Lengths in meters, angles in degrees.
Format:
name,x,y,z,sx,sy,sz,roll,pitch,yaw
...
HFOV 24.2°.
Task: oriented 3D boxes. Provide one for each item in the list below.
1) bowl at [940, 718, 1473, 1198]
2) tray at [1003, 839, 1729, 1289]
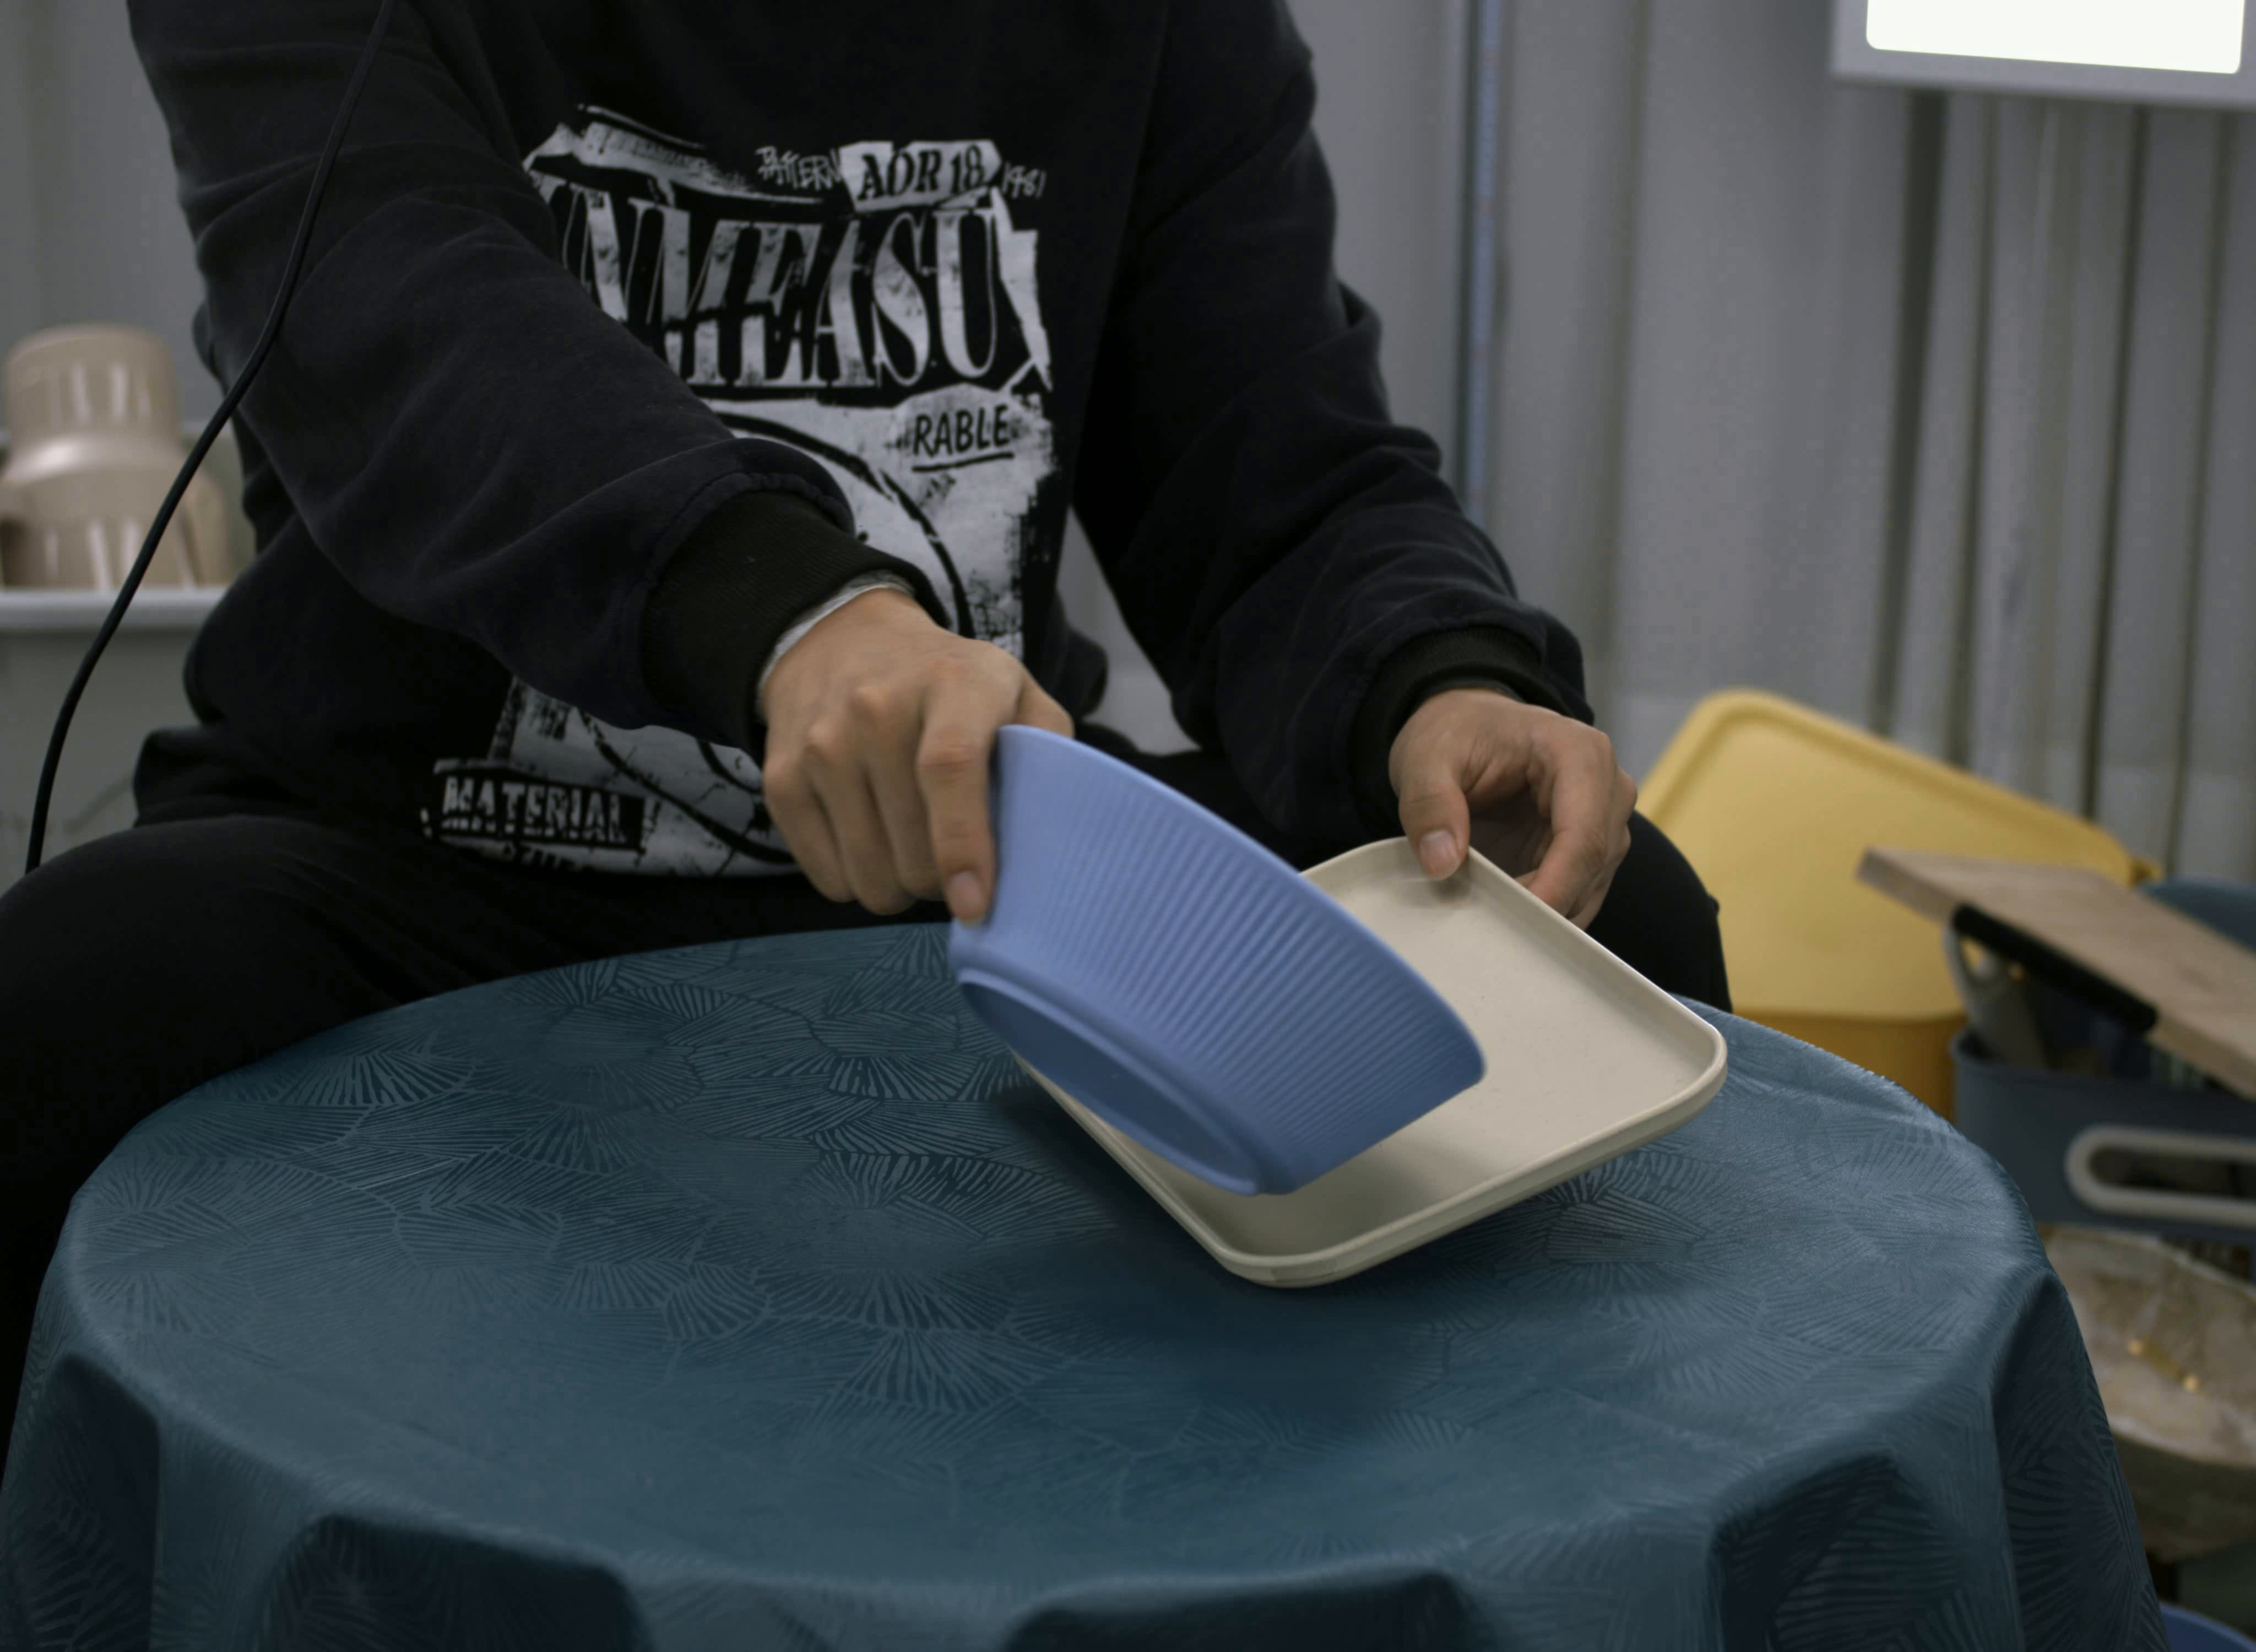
name,x,y,z,sx,sy,sz,roll,pitch,yaw
bowl,0.011,0.048,1.530,0.175,0.070,0.177,35,-11,8
tray,0.071,0.072,1.647,0.171,0.018,0.237,-22,25,-15
